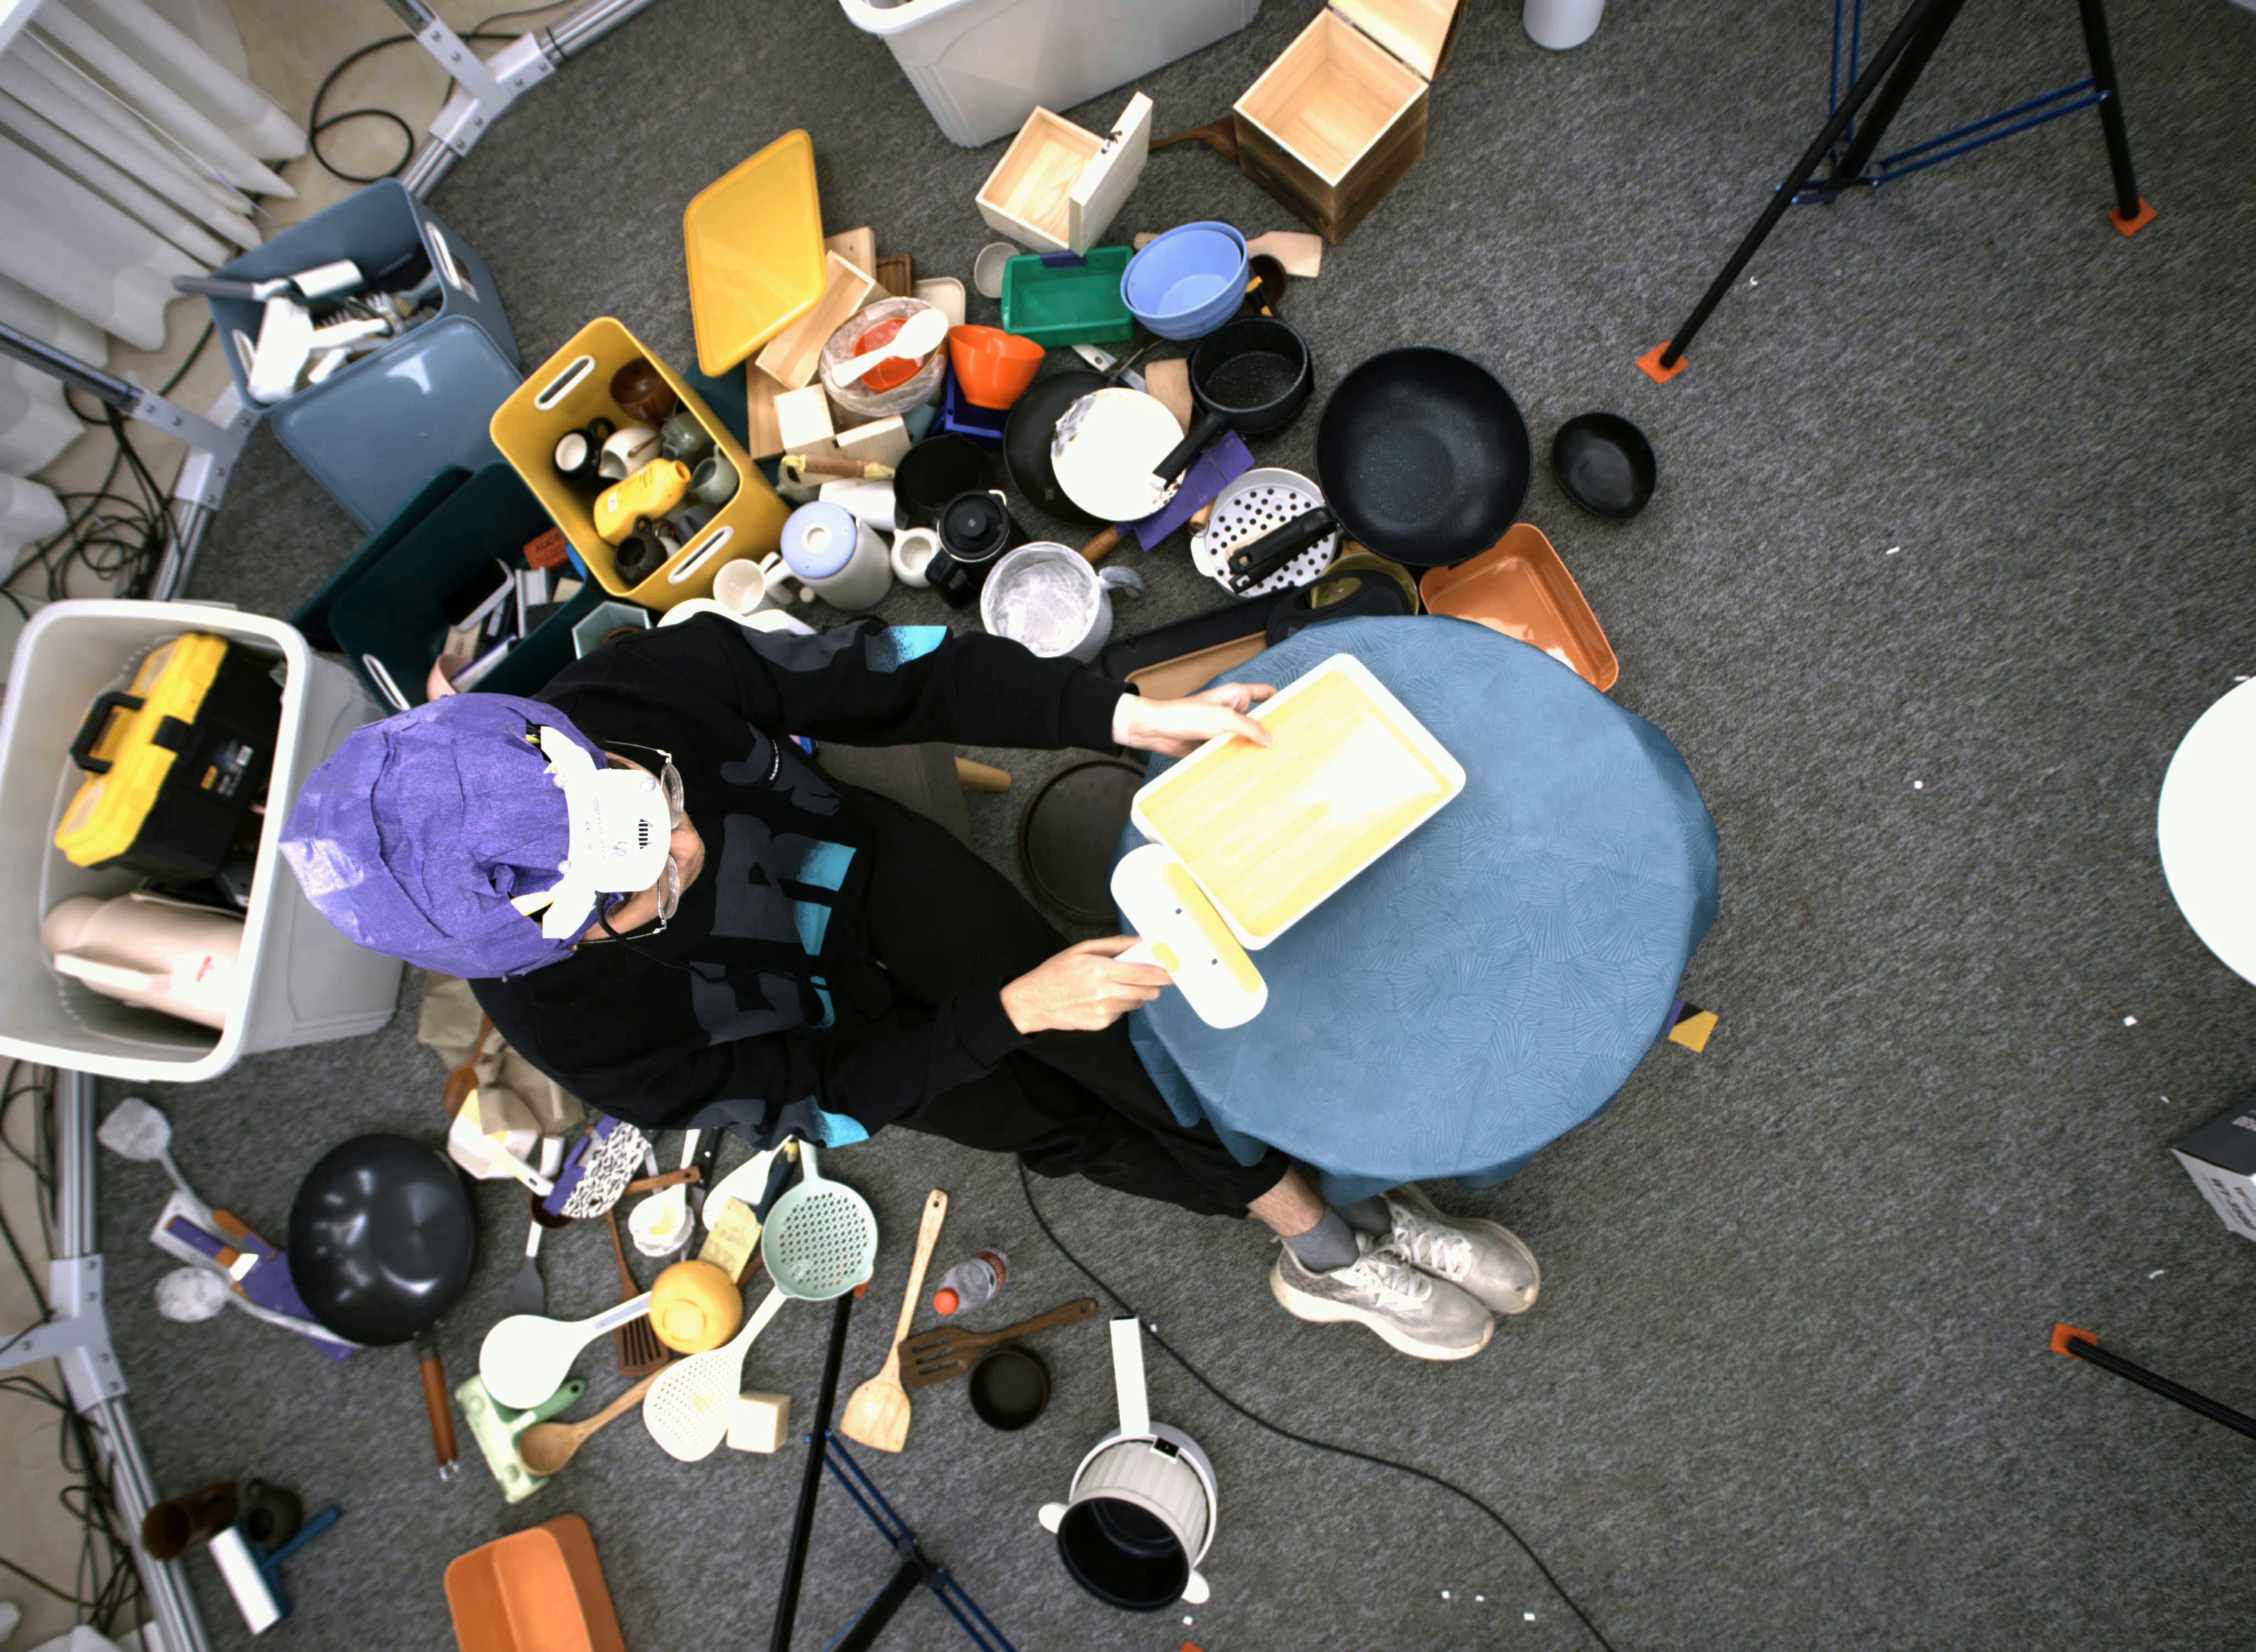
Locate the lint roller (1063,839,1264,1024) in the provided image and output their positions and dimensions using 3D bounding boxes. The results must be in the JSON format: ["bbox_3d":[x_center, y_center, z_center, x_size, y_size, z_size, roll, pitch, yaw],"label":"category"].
[{"bbox_3d":[0.012,0.128,1.323,0.193,0.072,0.196,49,133,-6],"label":"lint roller"}]

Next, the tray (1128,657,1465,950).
[{"bbox_3d":[0.167,-0.030,1.343,0.296,0.028,0.190,-35,75,-21],"label":"tray"}]
